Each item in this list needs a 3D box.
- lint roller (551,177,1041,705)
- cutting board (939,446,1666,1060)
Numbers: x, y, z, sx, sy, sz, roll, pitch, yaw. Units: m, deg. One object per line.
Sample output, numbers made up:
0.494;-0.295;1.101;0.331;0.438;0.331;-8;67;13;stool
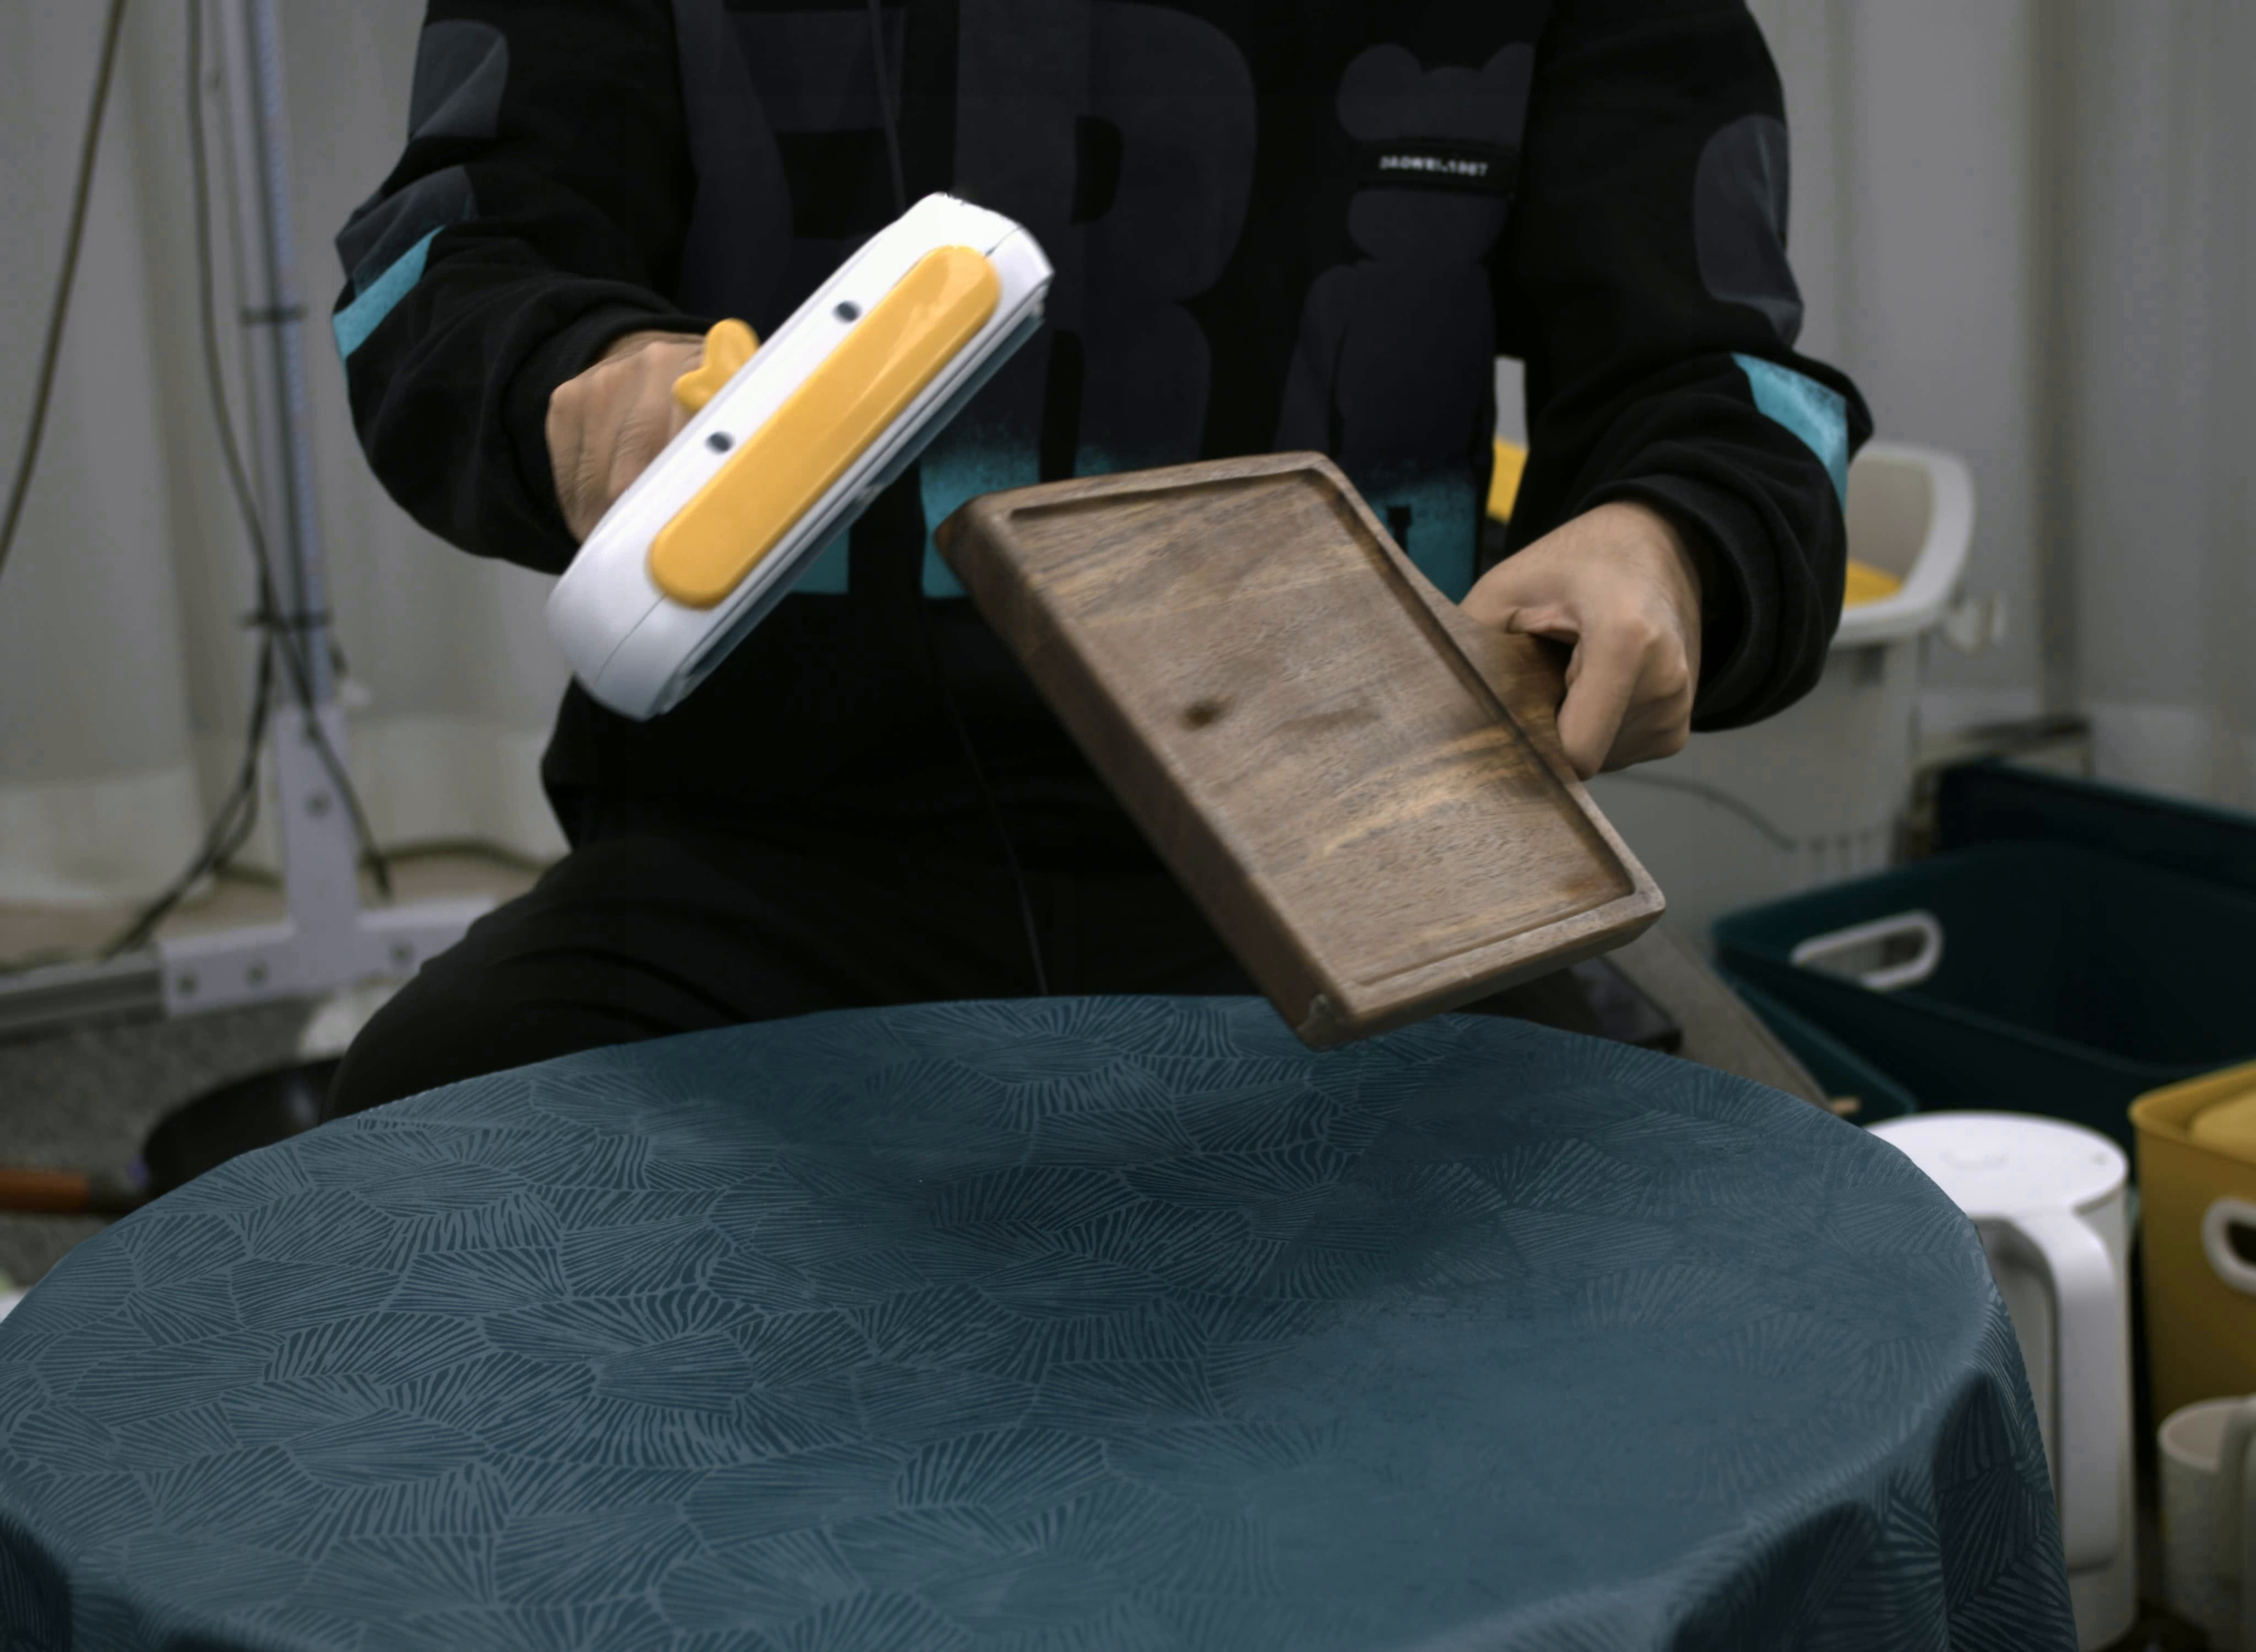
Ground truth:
-0.123;-0.108;1.690;0.194;0.074;0.192;-54;9;-23;lint roller
0.081;-0.035;1.727;0.023;0.202;0.351;-43;-13;24;cutting board
